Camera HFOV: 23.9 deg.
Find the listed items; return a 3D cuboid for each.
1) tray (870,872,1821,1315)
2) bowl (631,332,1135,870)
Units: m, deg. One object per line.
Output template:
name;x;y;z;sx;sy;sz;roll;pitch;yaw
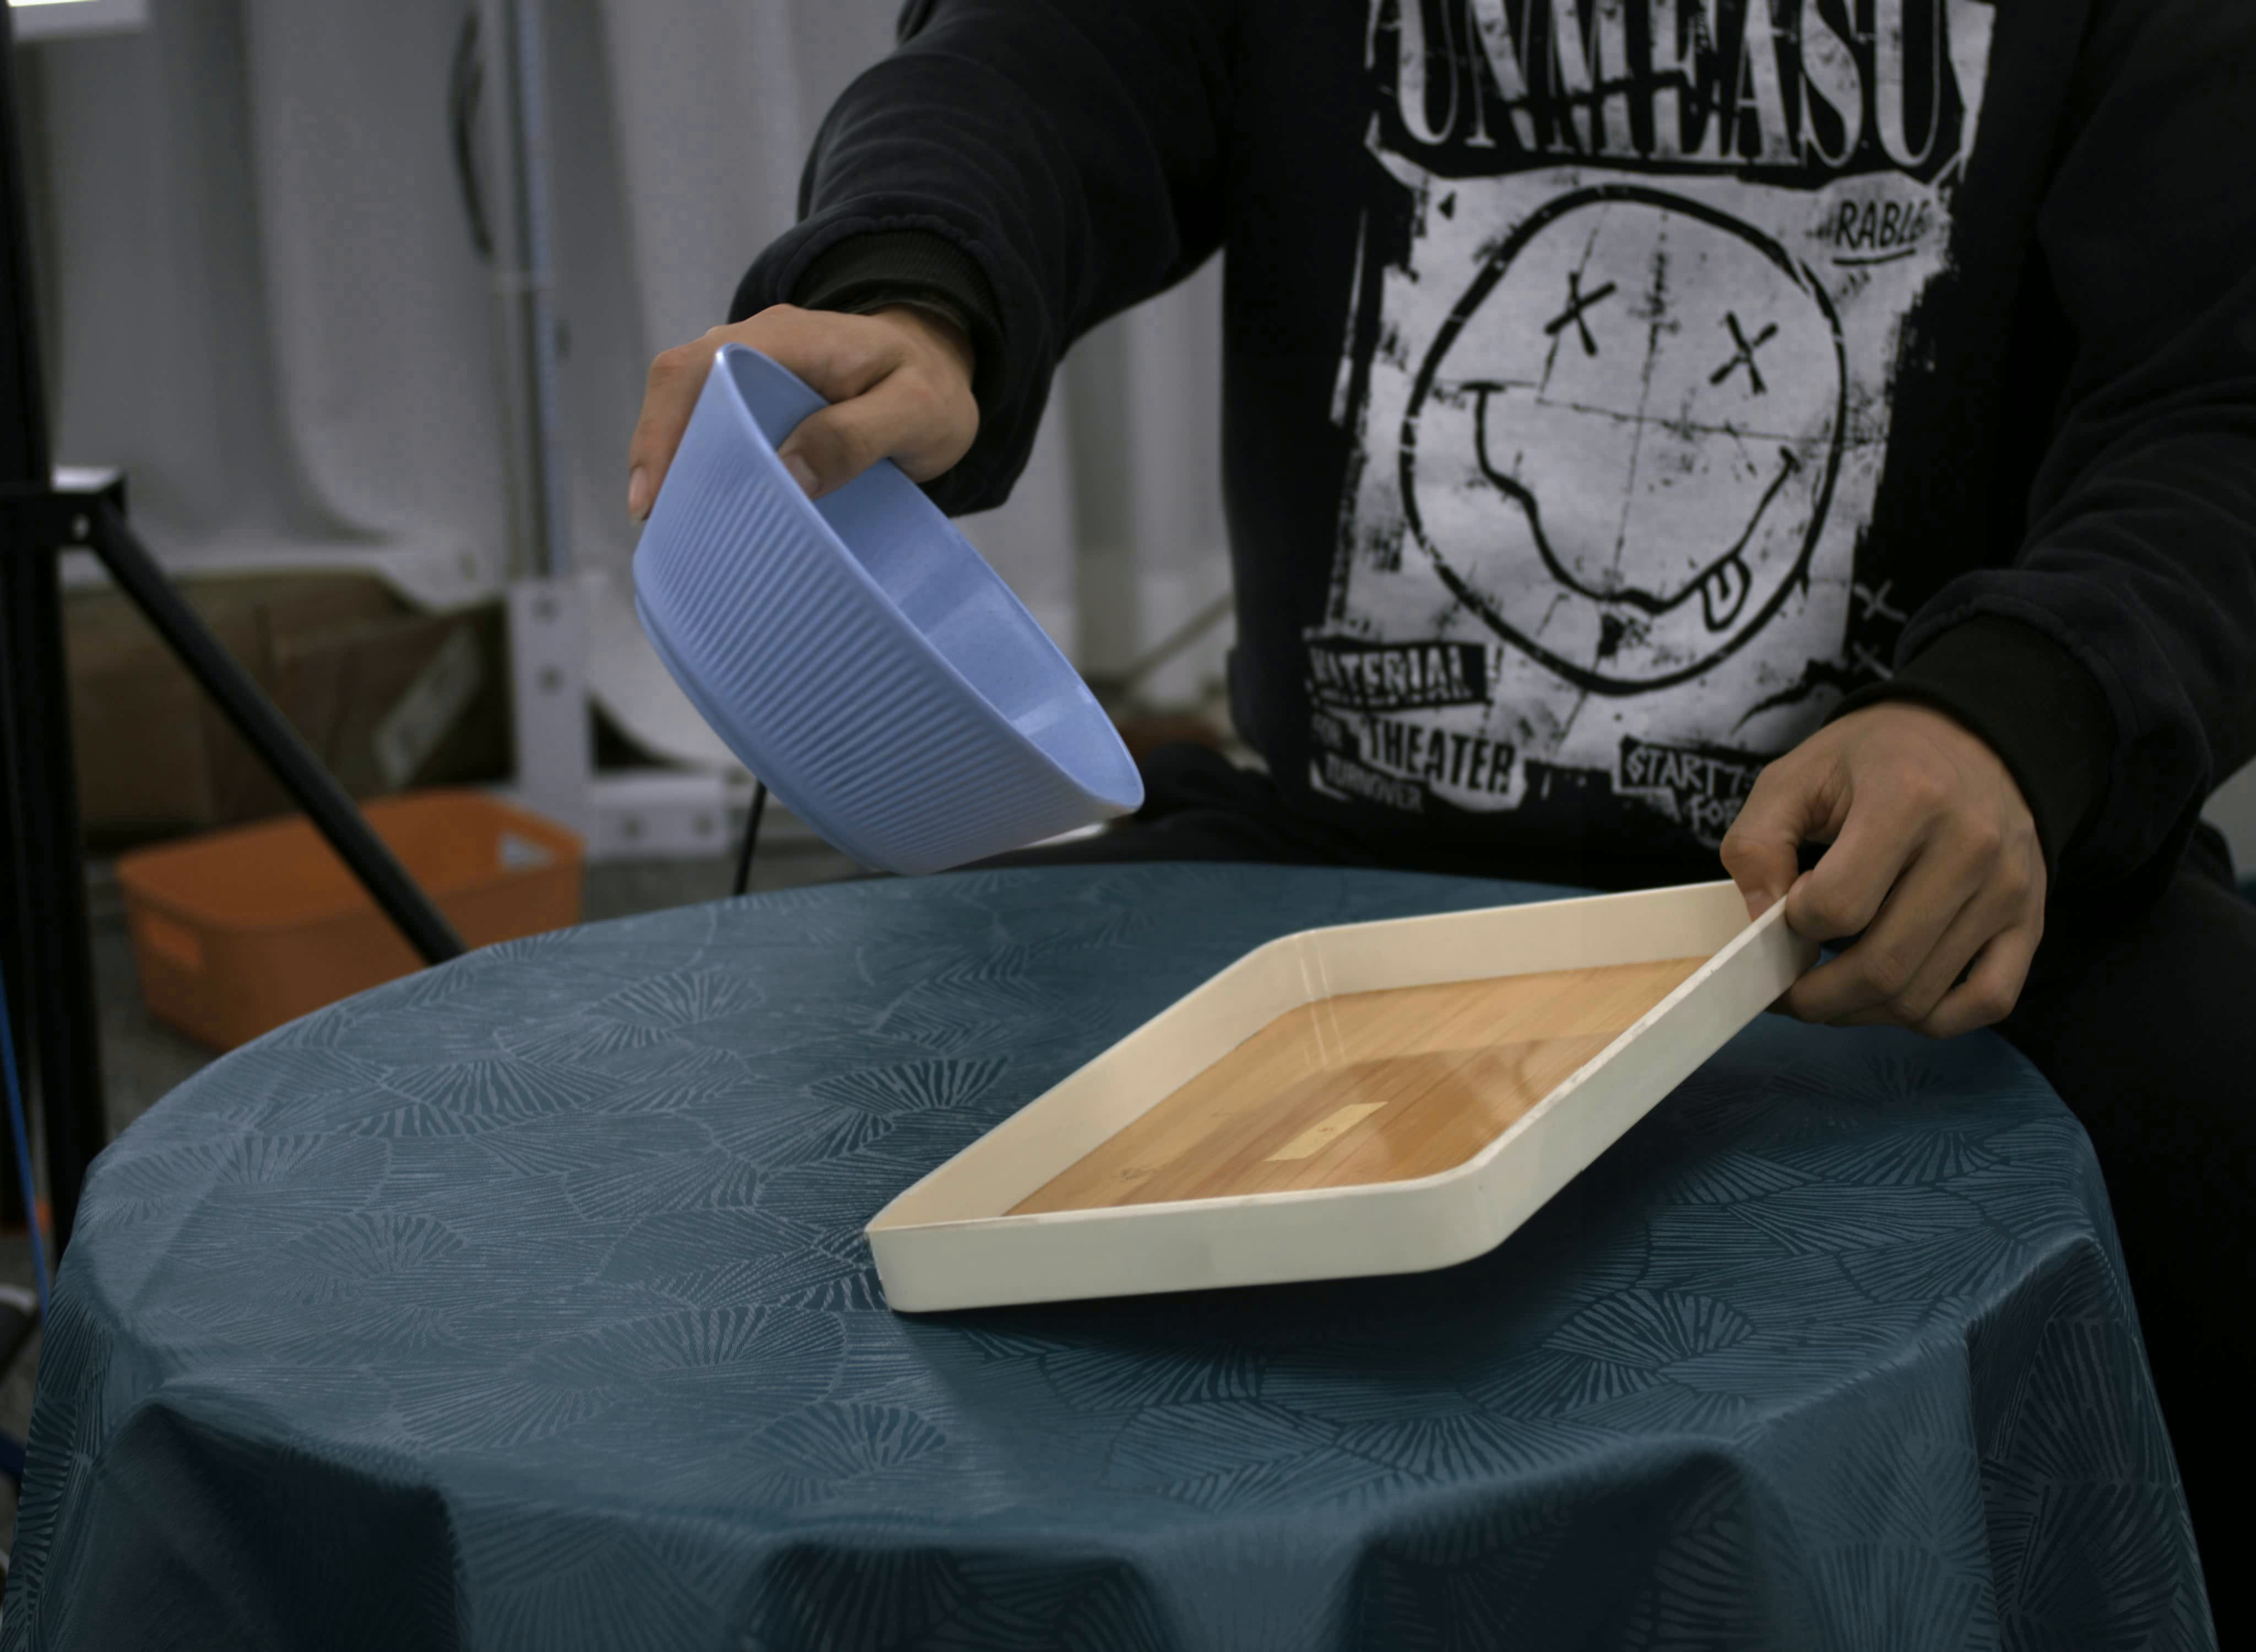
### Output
tray;0.071;0.076;1.545;0.194;0.027;0.295;-8;12;29
bowl;-0.079;-0.052;1.509;0.070;0.174;0.177;-42;12;10
